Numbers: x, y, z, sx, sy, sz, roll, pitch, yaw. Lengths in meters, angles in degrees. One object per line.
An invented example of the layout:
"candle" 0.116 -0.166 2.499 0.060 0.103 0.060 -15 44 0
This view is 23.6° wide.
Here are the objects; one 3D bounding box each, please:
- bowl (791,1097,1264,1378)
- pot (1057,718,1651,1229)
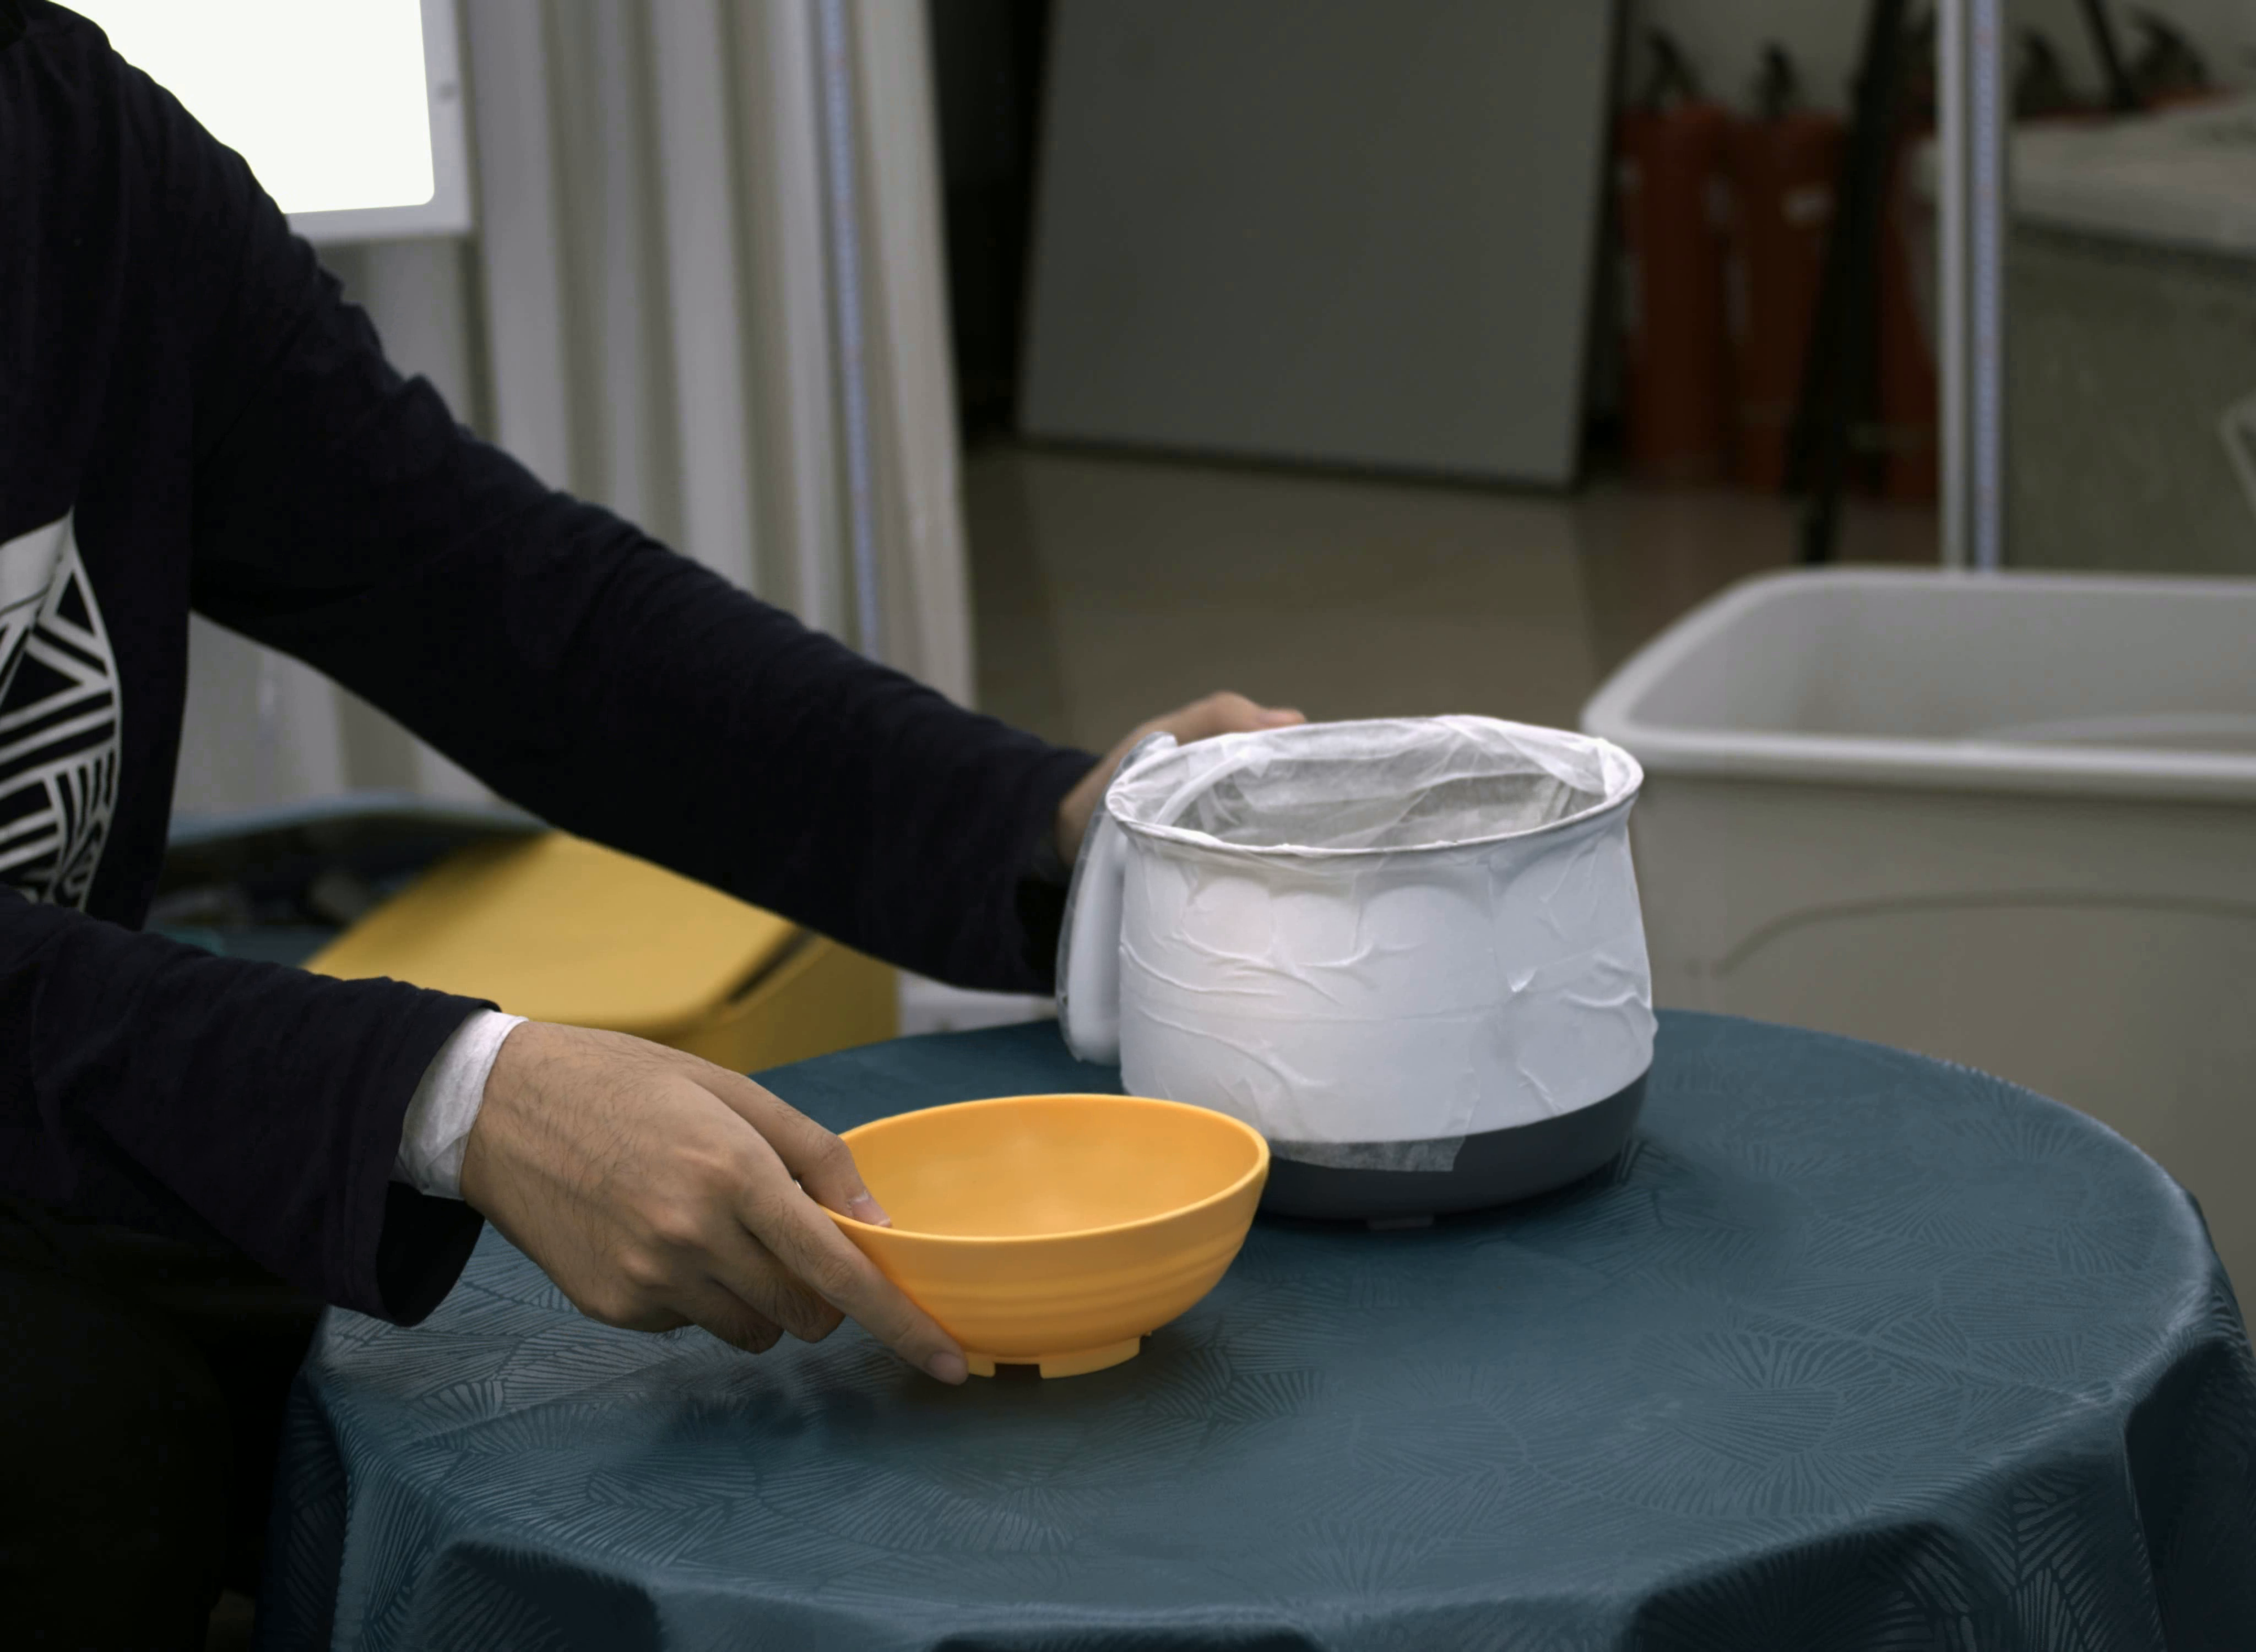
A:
"bowl" -0.029 0.128 1.625 0.143 0.061 0.145 -3 13 0
"pot" 0.064 0.042 1.787 0.236 0.138 0.175 10 17 44
